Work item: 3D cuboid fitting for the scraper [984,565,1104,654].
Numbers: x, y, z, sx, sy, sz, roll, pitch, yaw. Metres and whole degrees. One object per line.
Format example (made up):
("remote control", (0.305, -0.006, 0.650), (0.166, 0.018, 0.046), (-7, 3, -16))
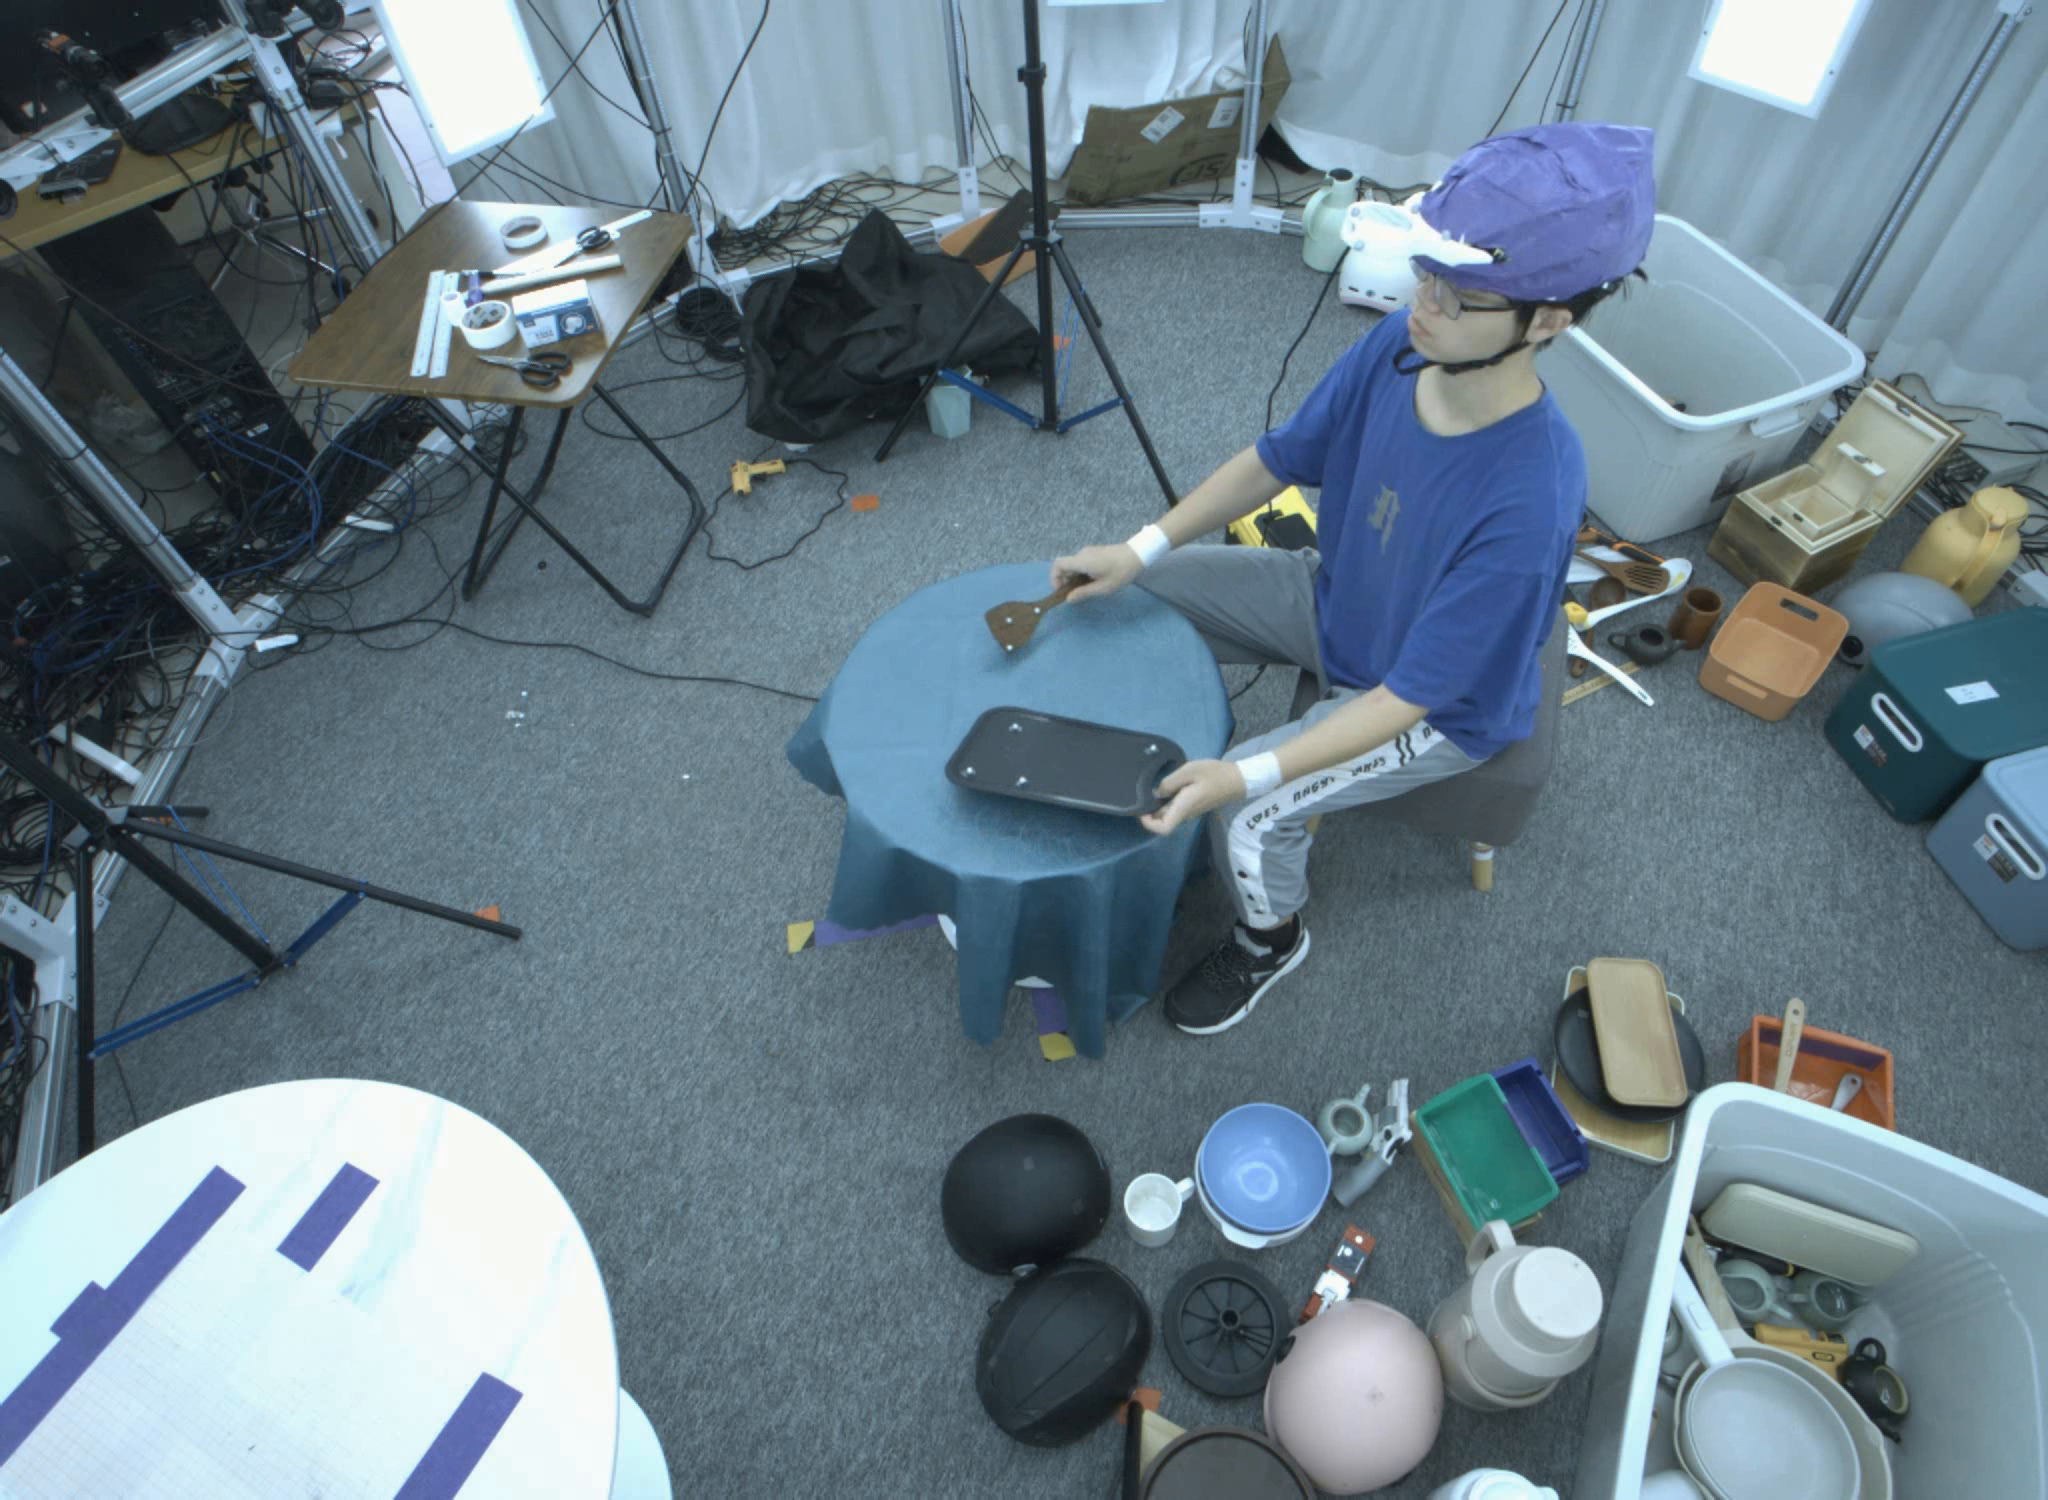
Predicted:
("scraper", (0.036, -0.226, 1.885), (0.213, 0.010, 0.076), (-32, 99, -19))

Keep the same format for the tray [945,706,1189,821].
("tray", (0.066, 0.015, 1.713), (0.322, 0.010, 0.211), (12, 37, 15))
